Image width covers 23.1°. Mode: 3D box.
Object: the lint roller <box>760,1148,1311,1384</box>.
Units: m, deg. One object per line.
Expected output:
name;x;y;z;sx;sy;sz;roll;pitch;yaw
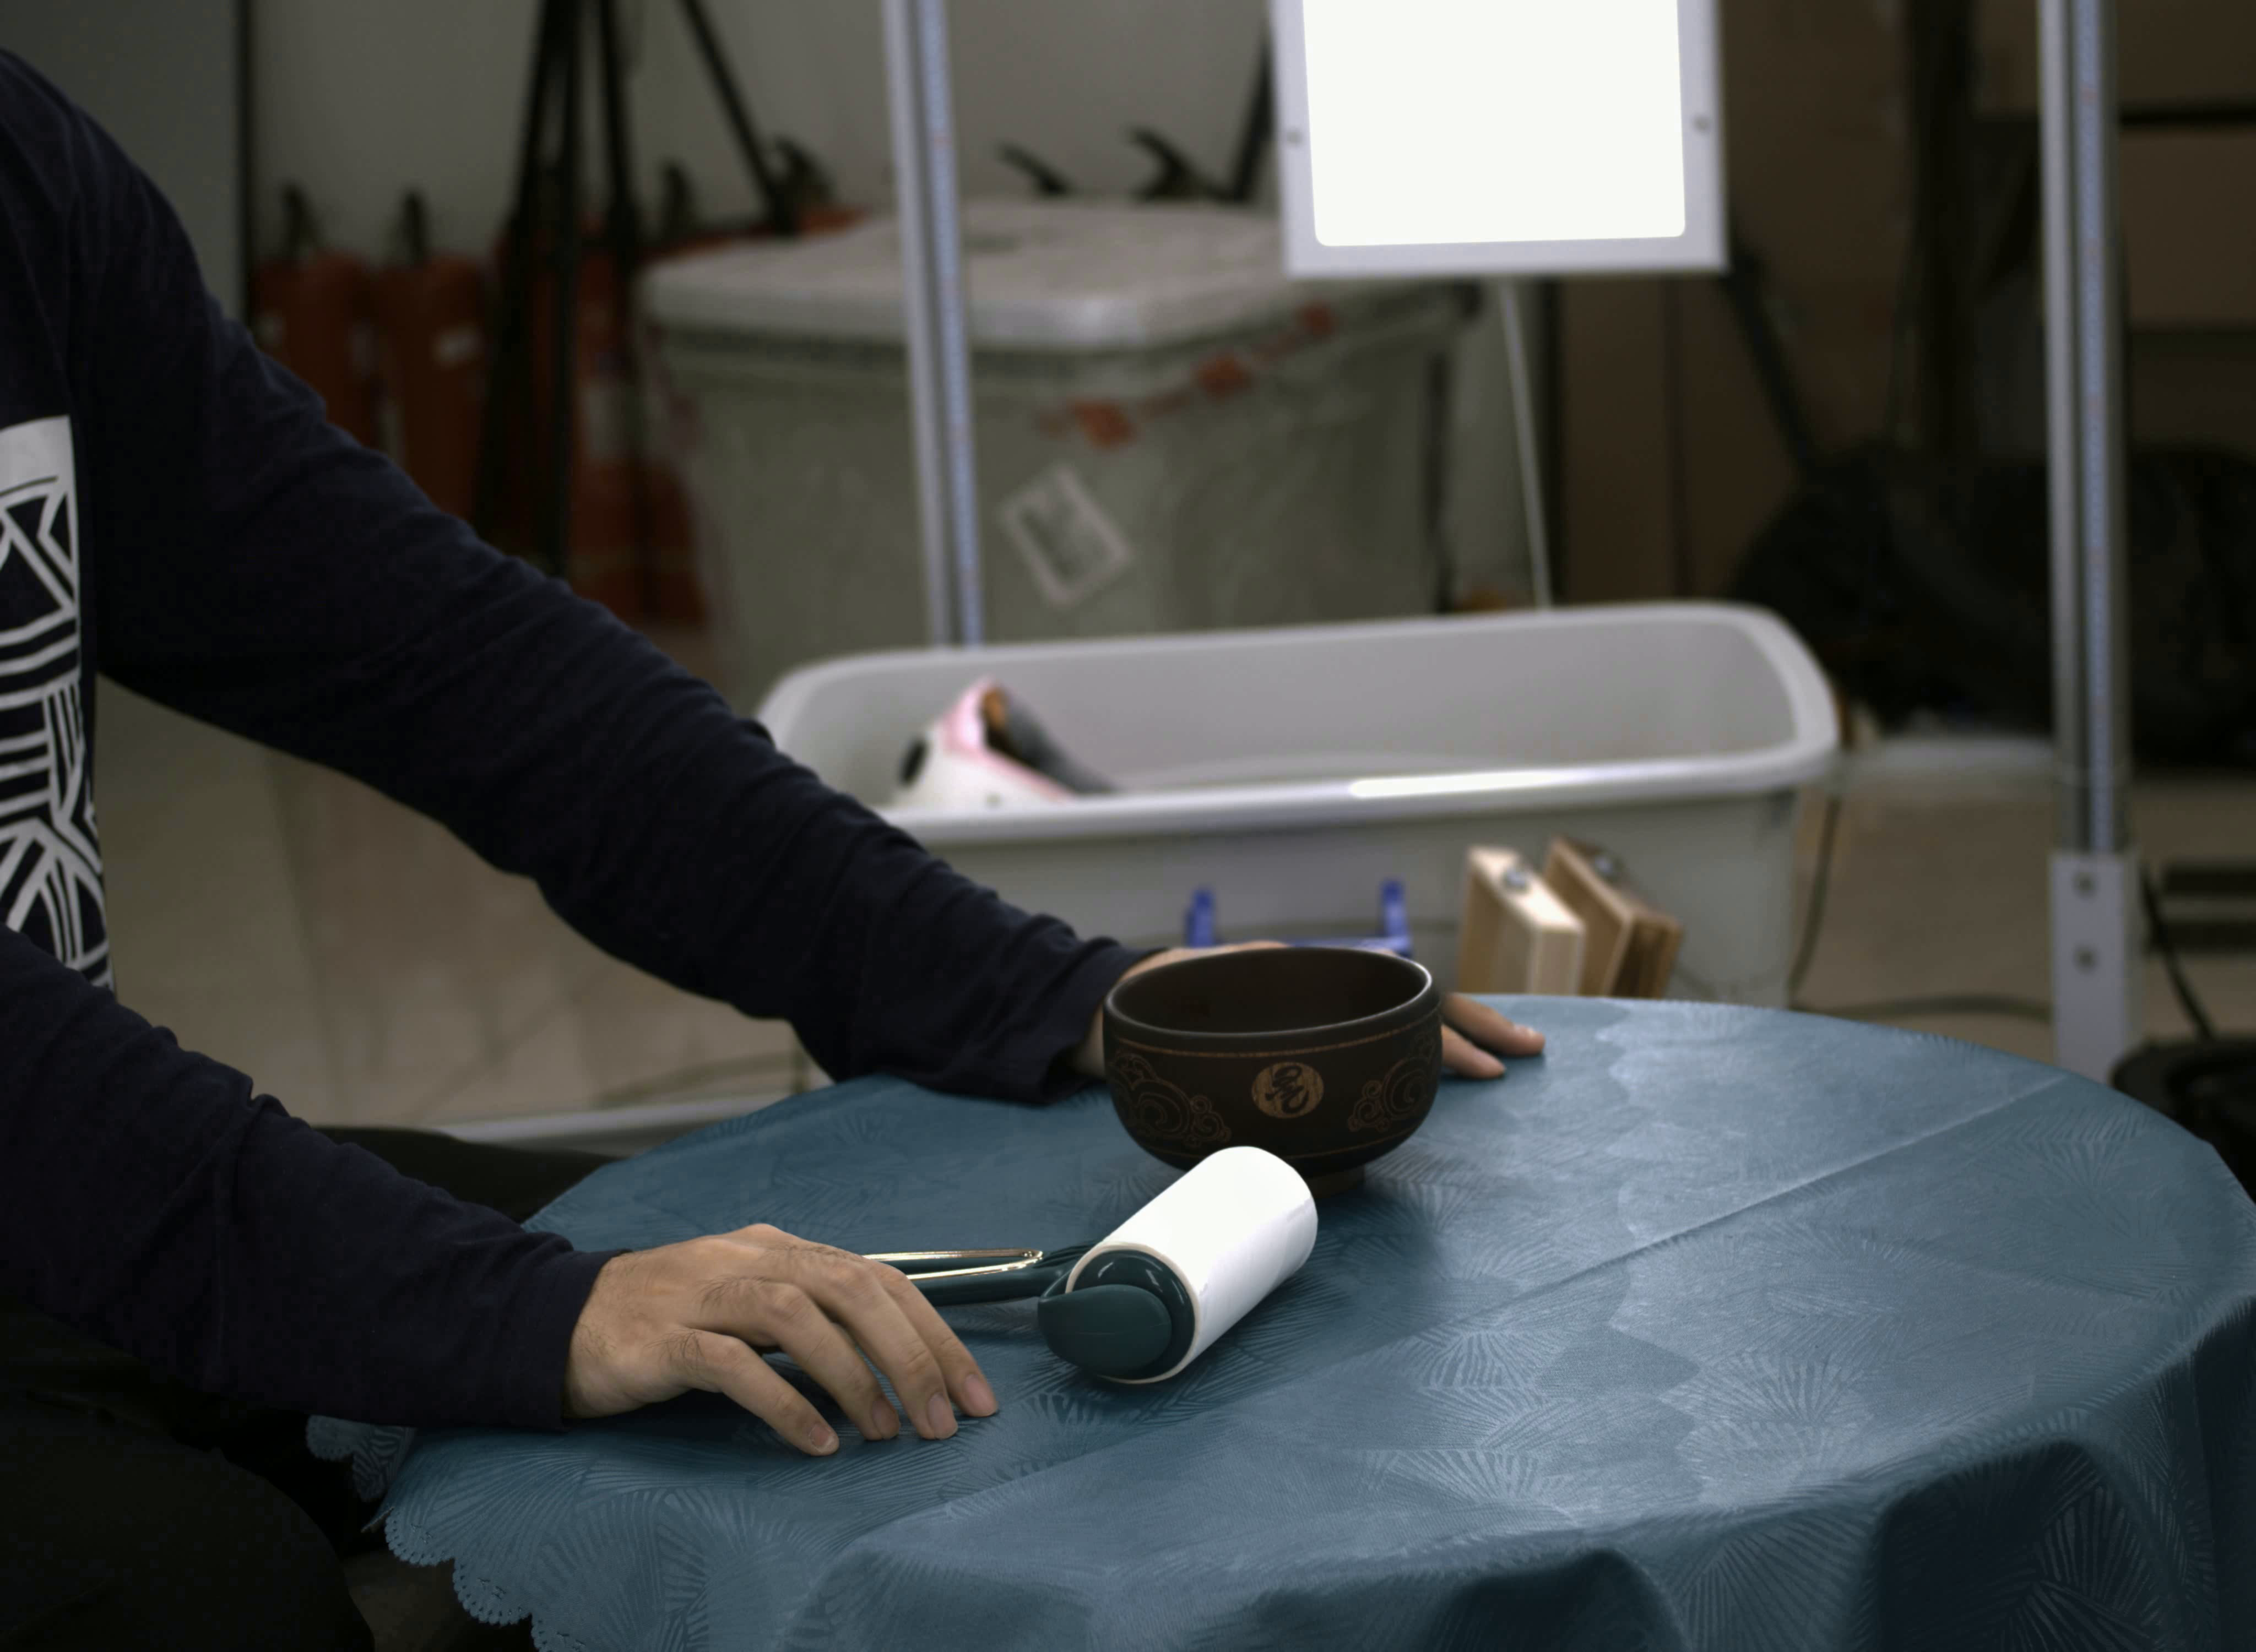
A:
lint roller;-0.040;0.141;1.776;0.183;0.048;0.131;-2;14;26

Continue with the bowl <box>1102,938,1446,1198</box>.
bowl;0.052;0.087;1.893;0.118;0.070;0.118;-8;15;1
